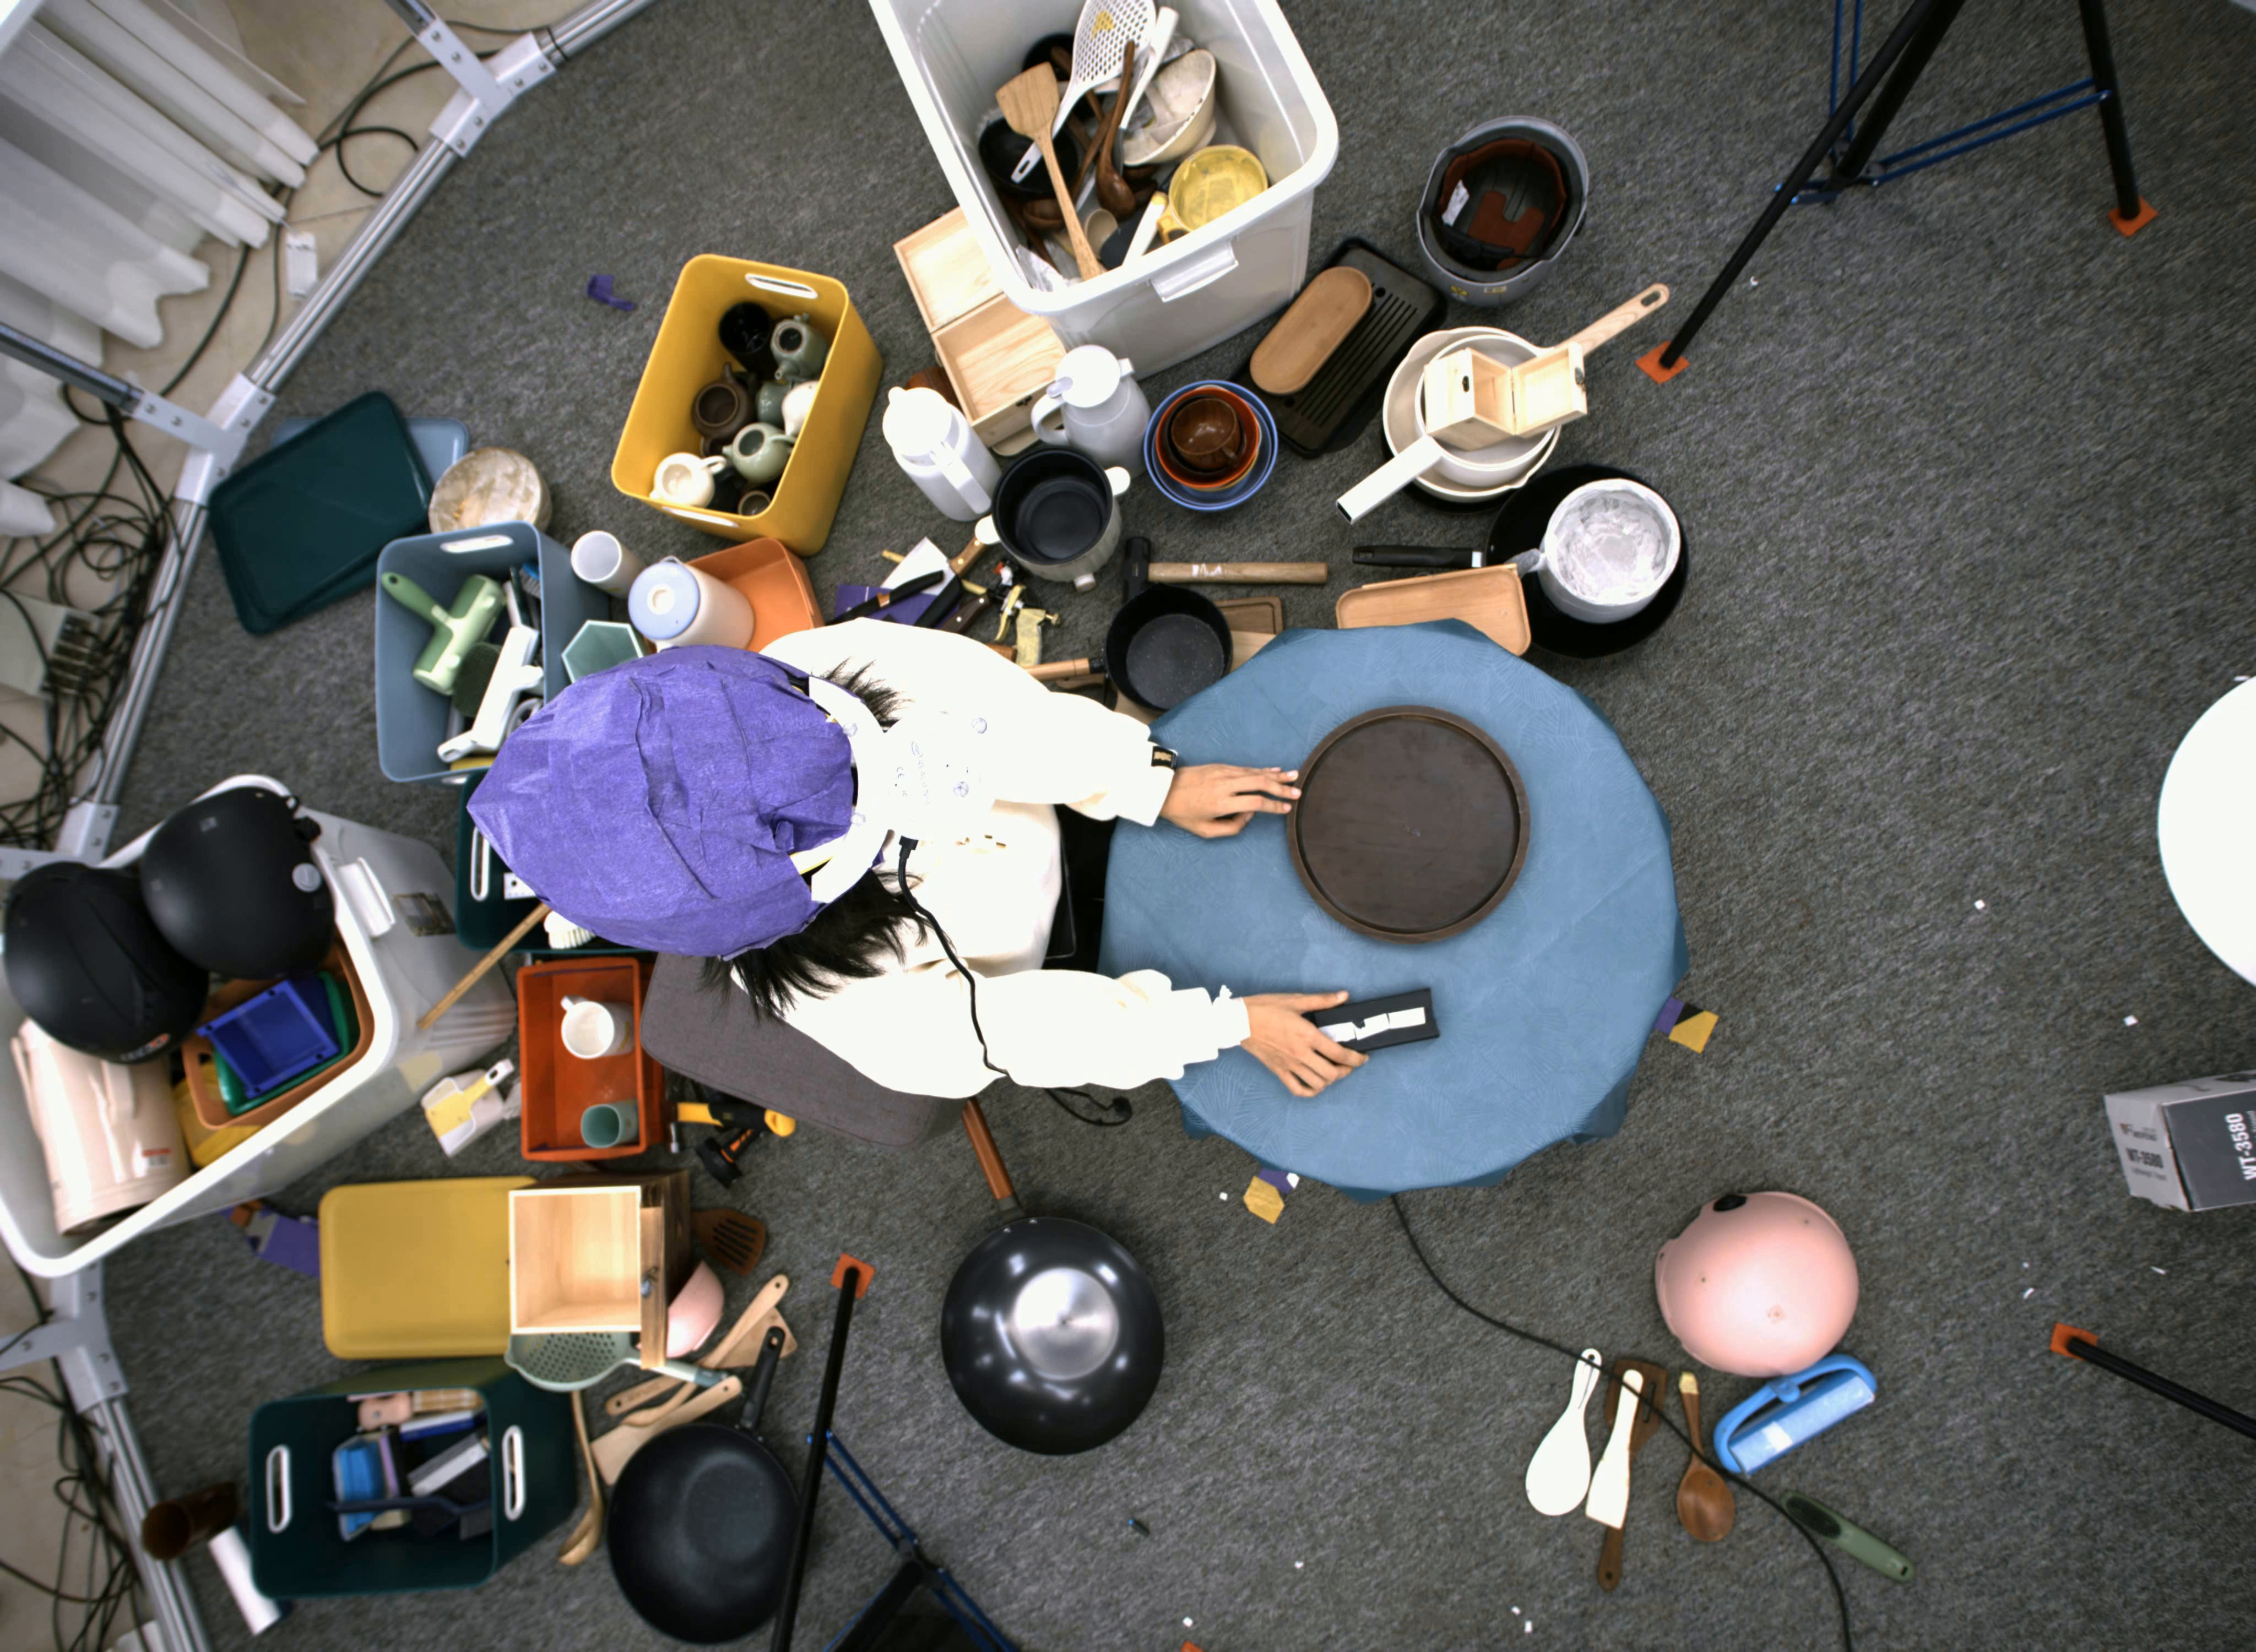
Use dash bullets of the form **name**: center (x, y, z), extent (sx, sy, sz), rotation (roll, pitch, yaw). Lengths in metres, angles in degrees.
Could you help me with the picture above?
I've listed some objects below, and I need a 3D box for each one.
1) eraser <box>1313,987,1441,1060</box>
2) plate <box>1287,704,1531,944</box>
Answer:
- **eraser**: center (0.259, 0.204, 1.442), extent (0.126, 0.030, 0.053), rotation (-13, 81, 11)
- **plate**: center (0.293, -0.004, 1.448), extent (0.256, 0.029, 0.253), rotation (-1, 87, 9)
